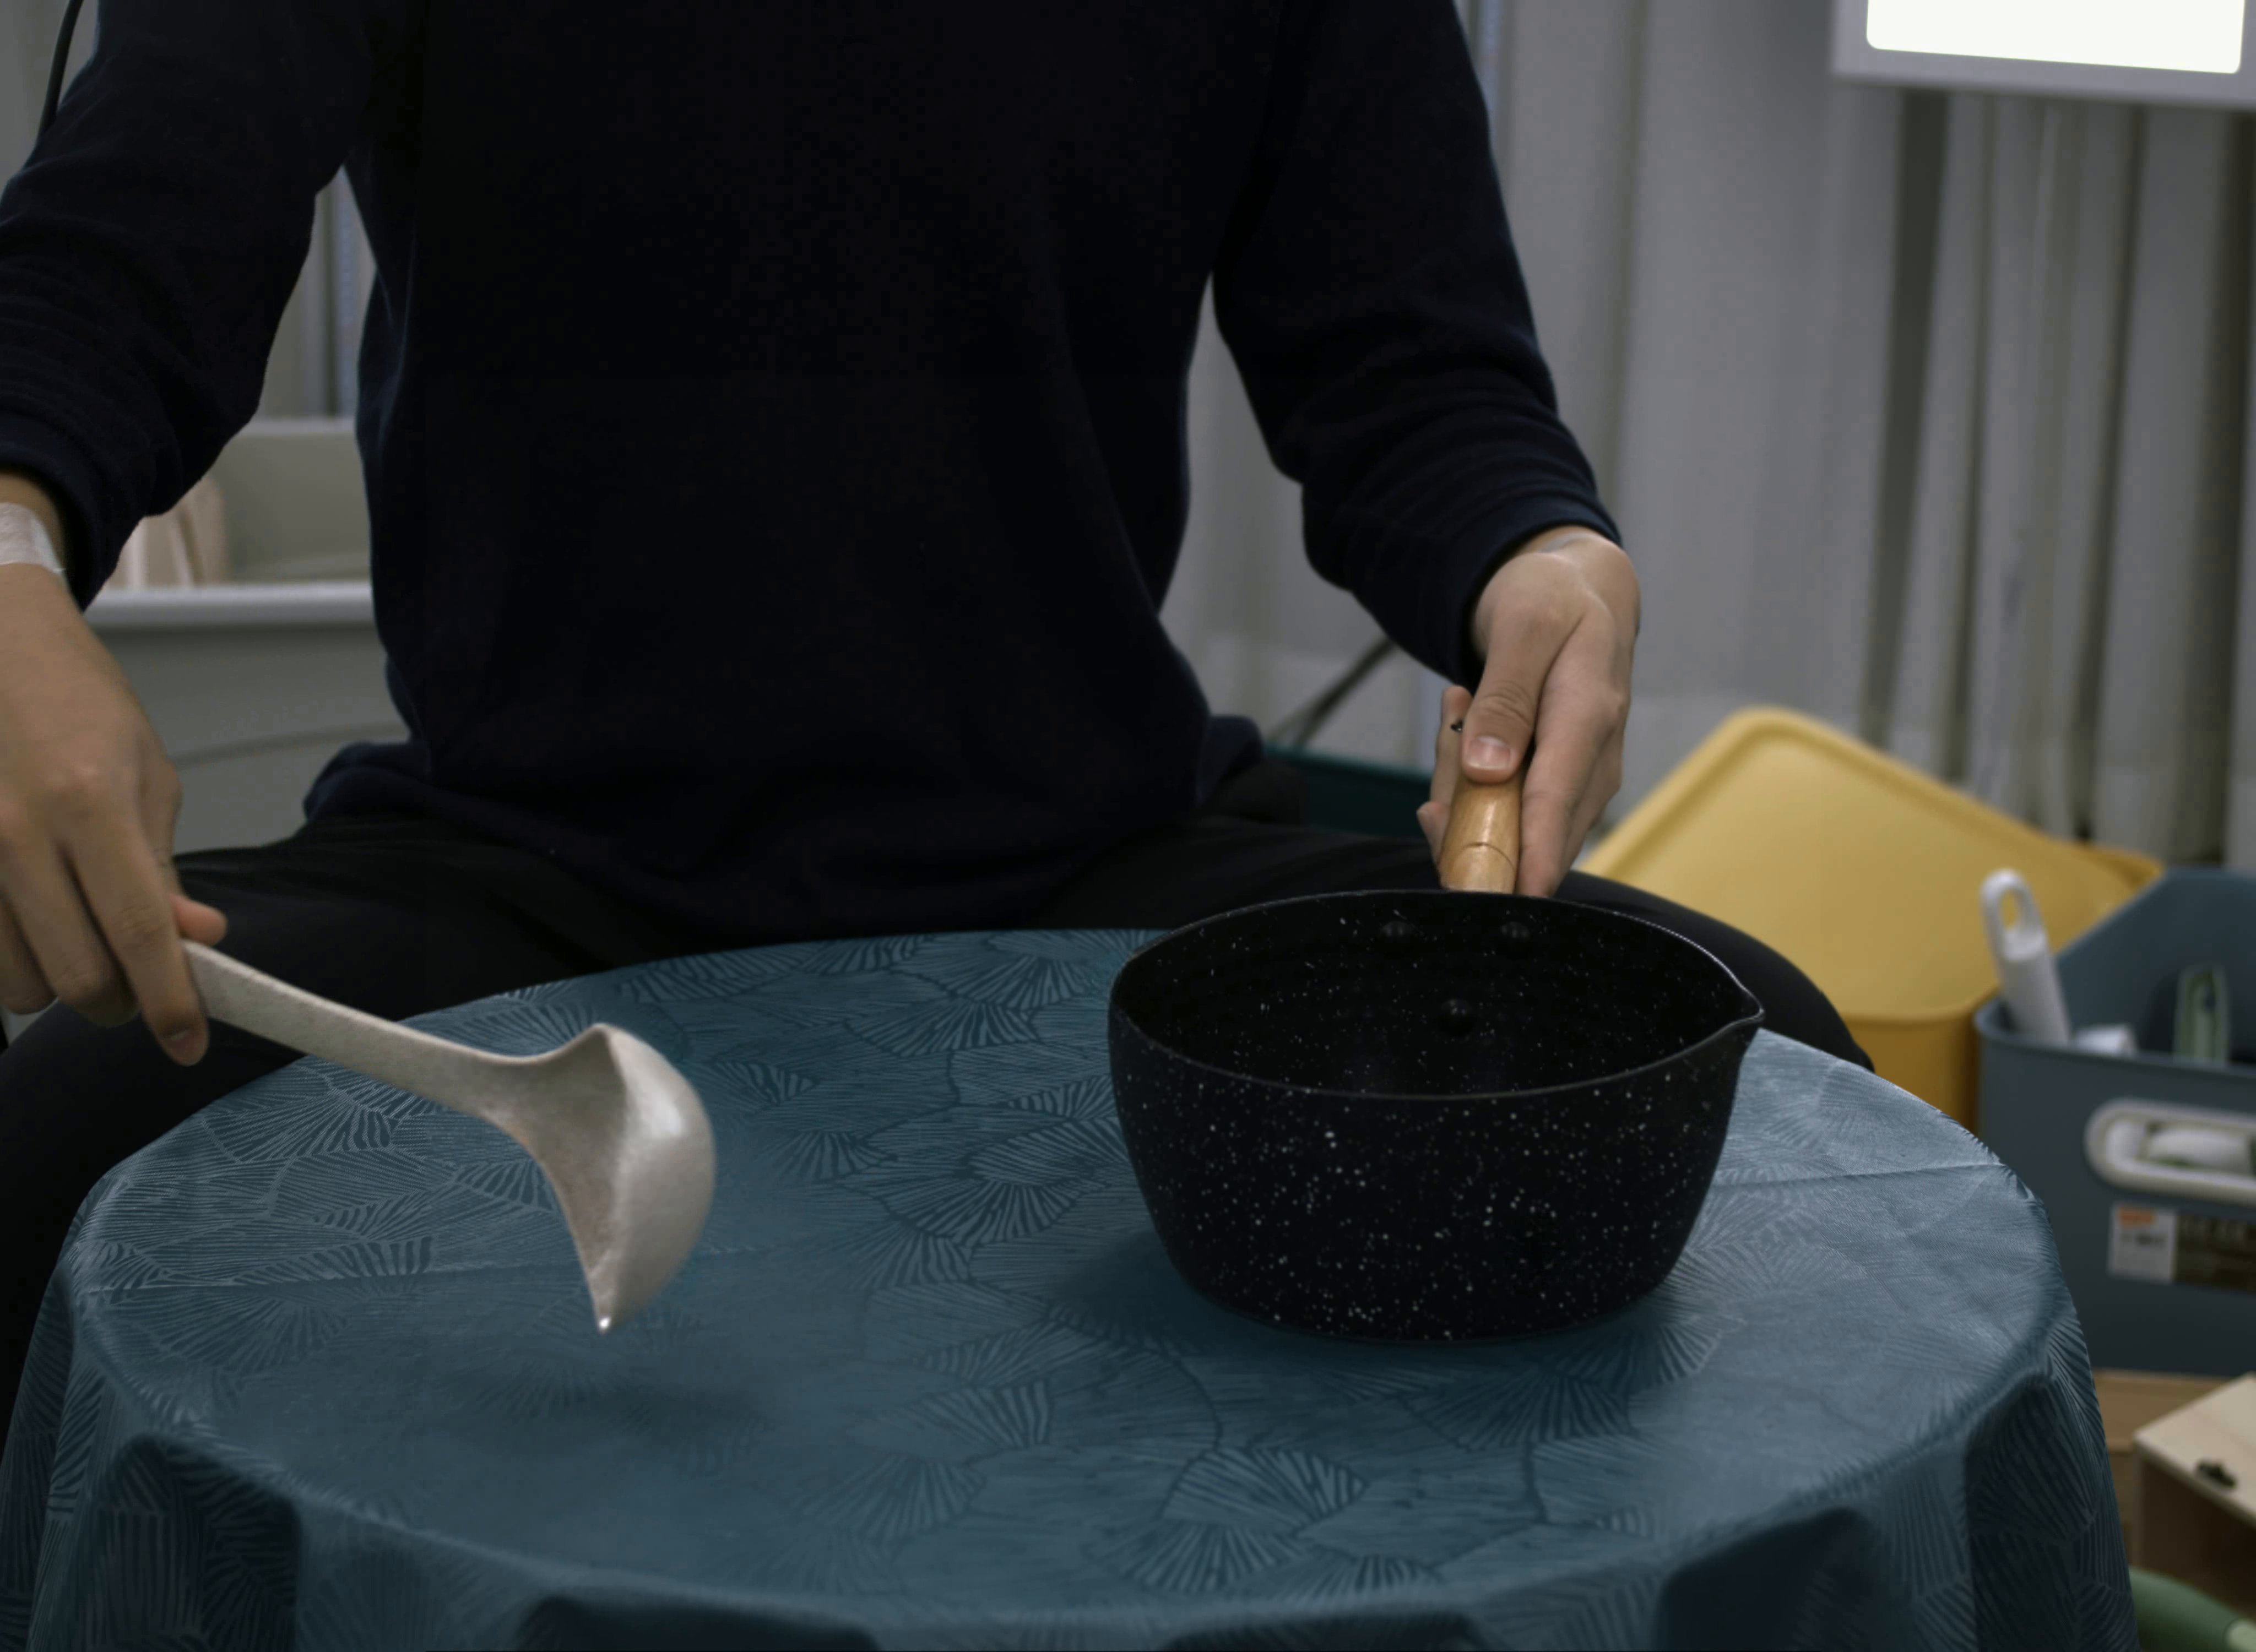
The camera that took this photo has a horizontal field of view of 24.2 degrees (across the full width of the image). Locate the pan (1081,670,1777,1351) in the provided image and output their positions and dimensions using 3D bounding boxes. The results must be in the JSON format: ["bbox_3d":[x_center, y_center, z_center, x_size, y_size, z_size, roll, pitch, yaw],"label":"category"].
[{"bbox_3d":[0.099,0.051,1.624,0.206,0.109,0.341,1,19,8],"label":"pan"}]

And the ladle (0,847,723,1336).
[{"bbox_3d":[-0.235,0.064,1.471,0.272,0.090,0.069,18,36,19],"label":"ladle"}]
